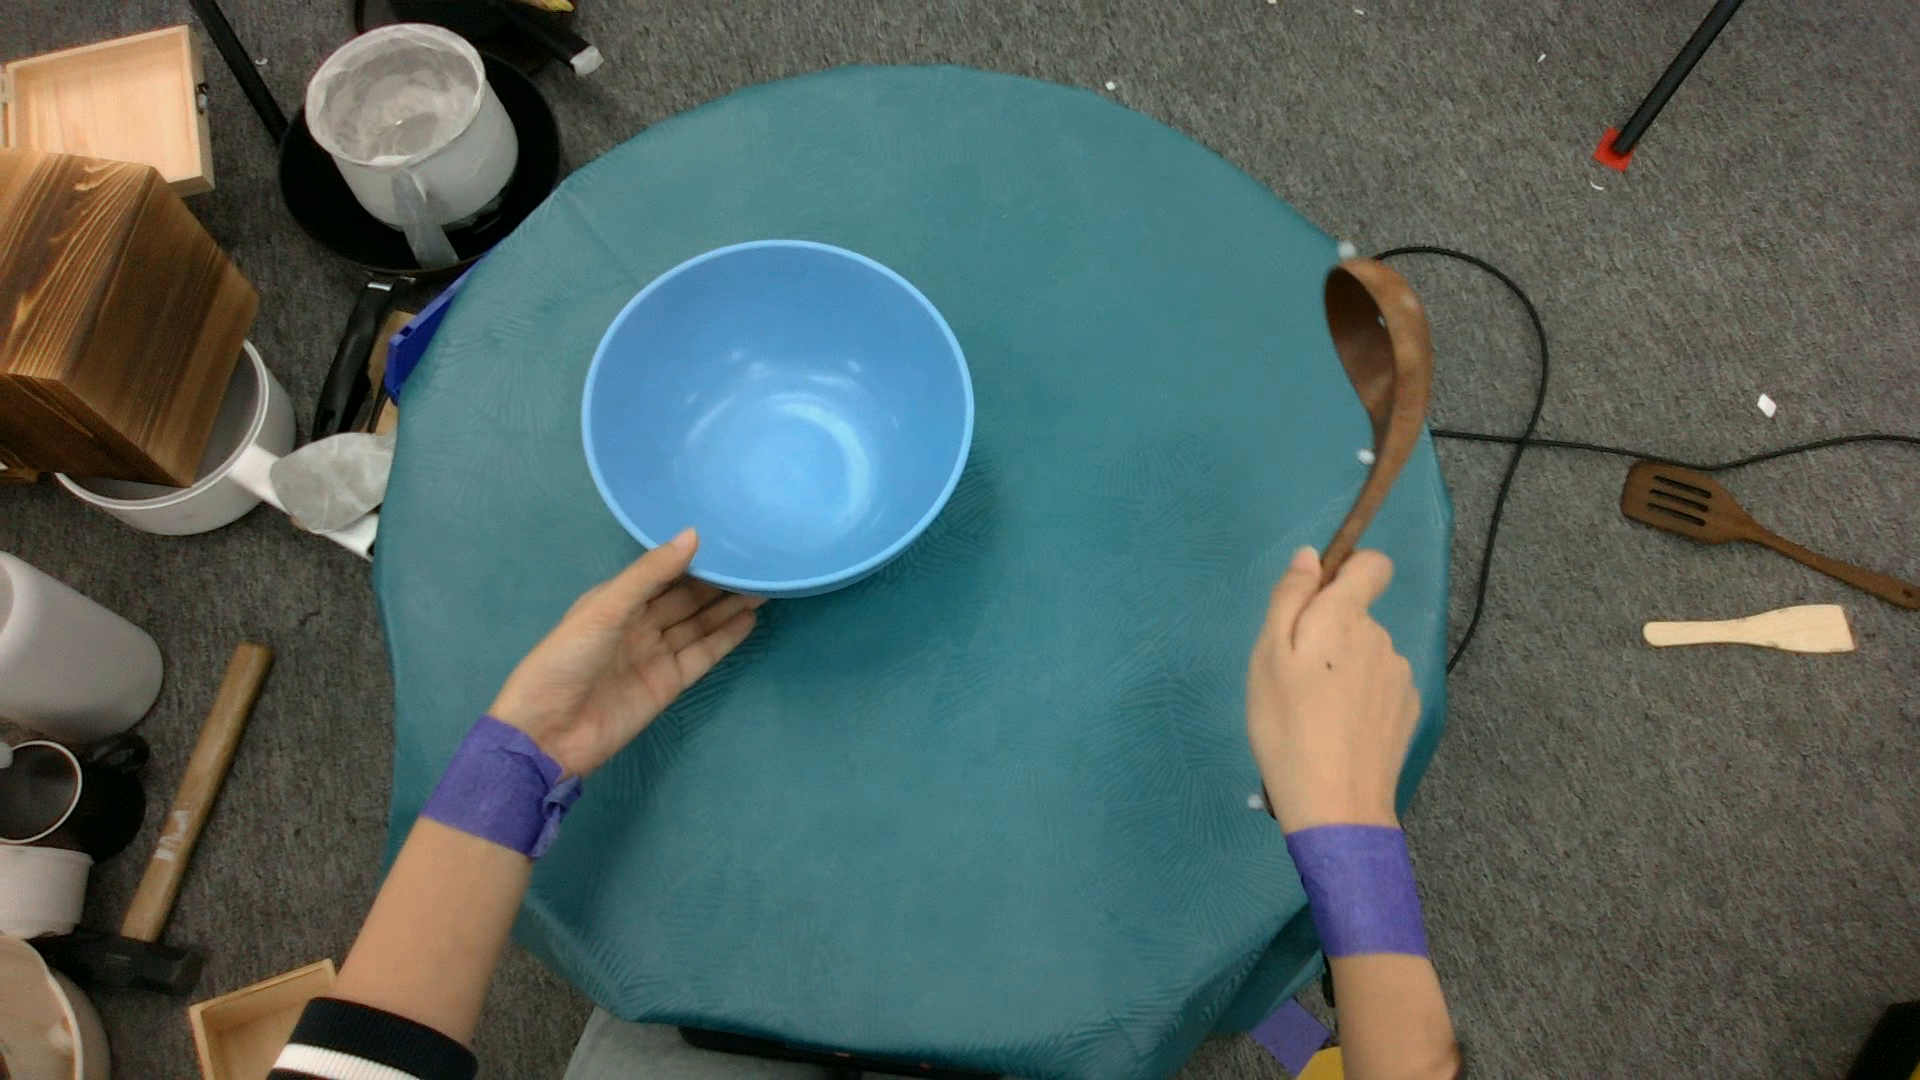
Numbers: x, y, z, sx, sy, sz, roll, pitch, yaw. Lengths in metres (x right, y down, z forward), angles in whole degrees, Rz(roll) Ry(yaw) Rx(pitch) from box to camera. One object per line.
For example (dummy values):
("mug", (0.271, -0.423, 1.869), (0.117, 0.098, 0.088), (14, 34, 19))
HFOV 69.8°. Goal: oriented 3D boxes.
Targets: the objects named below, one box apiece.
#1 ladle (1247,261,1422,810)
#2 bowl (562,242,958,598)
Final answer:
("ladle", (0.159, -0.007, 0.643), (0.065, 0.076, 0.260), (20, 81, 9))
("bowl", (-0.105, -0.050, 0.730), (0.196, 0.095, 0.197), (4, 65, -8))
